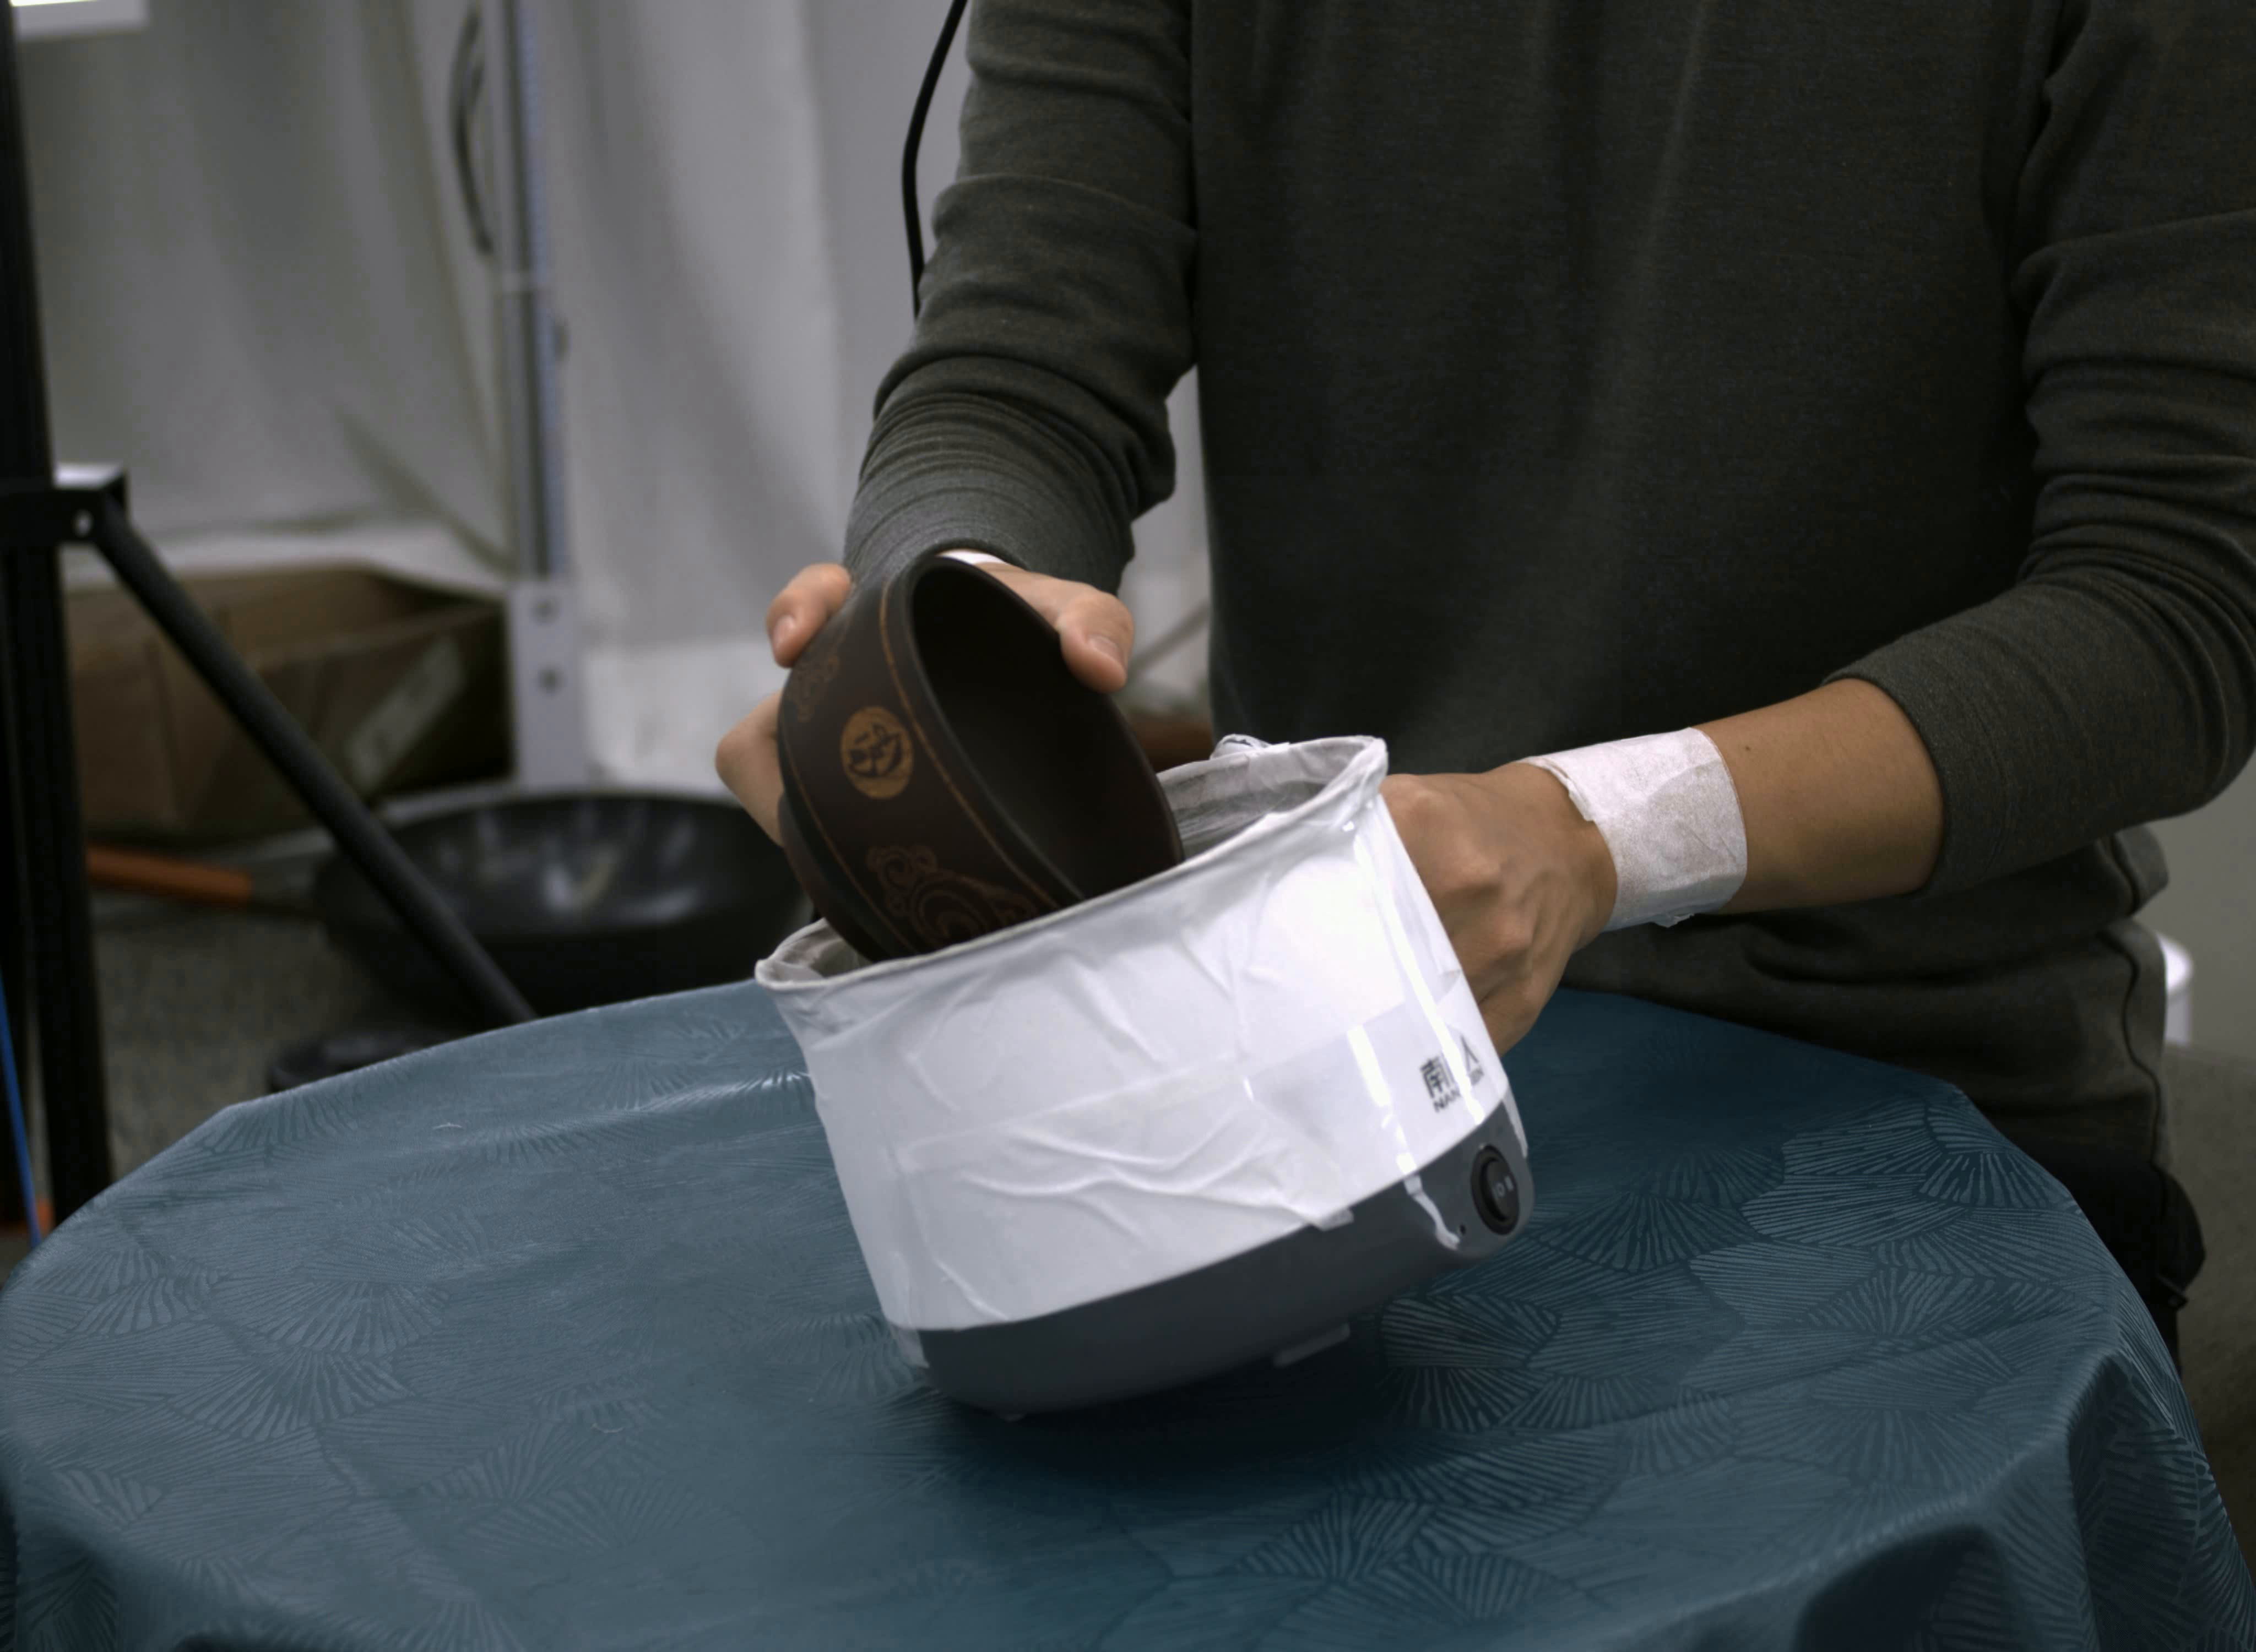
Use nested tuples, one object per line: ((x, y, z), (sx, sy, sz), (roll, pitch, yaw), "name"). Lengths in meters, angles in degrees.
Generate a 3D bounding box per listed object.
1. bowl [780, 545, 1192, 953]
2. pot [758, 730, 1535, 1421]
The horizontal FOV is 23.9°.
((-0.045, -0.006, 1.368), (0.070, 0.118, 0.117), (-35, 6, 19), "bowl")
((0.019, 0.059, 1.419), (0.181, 0.136, 0.230), (-15, 9, 31), "pot")
